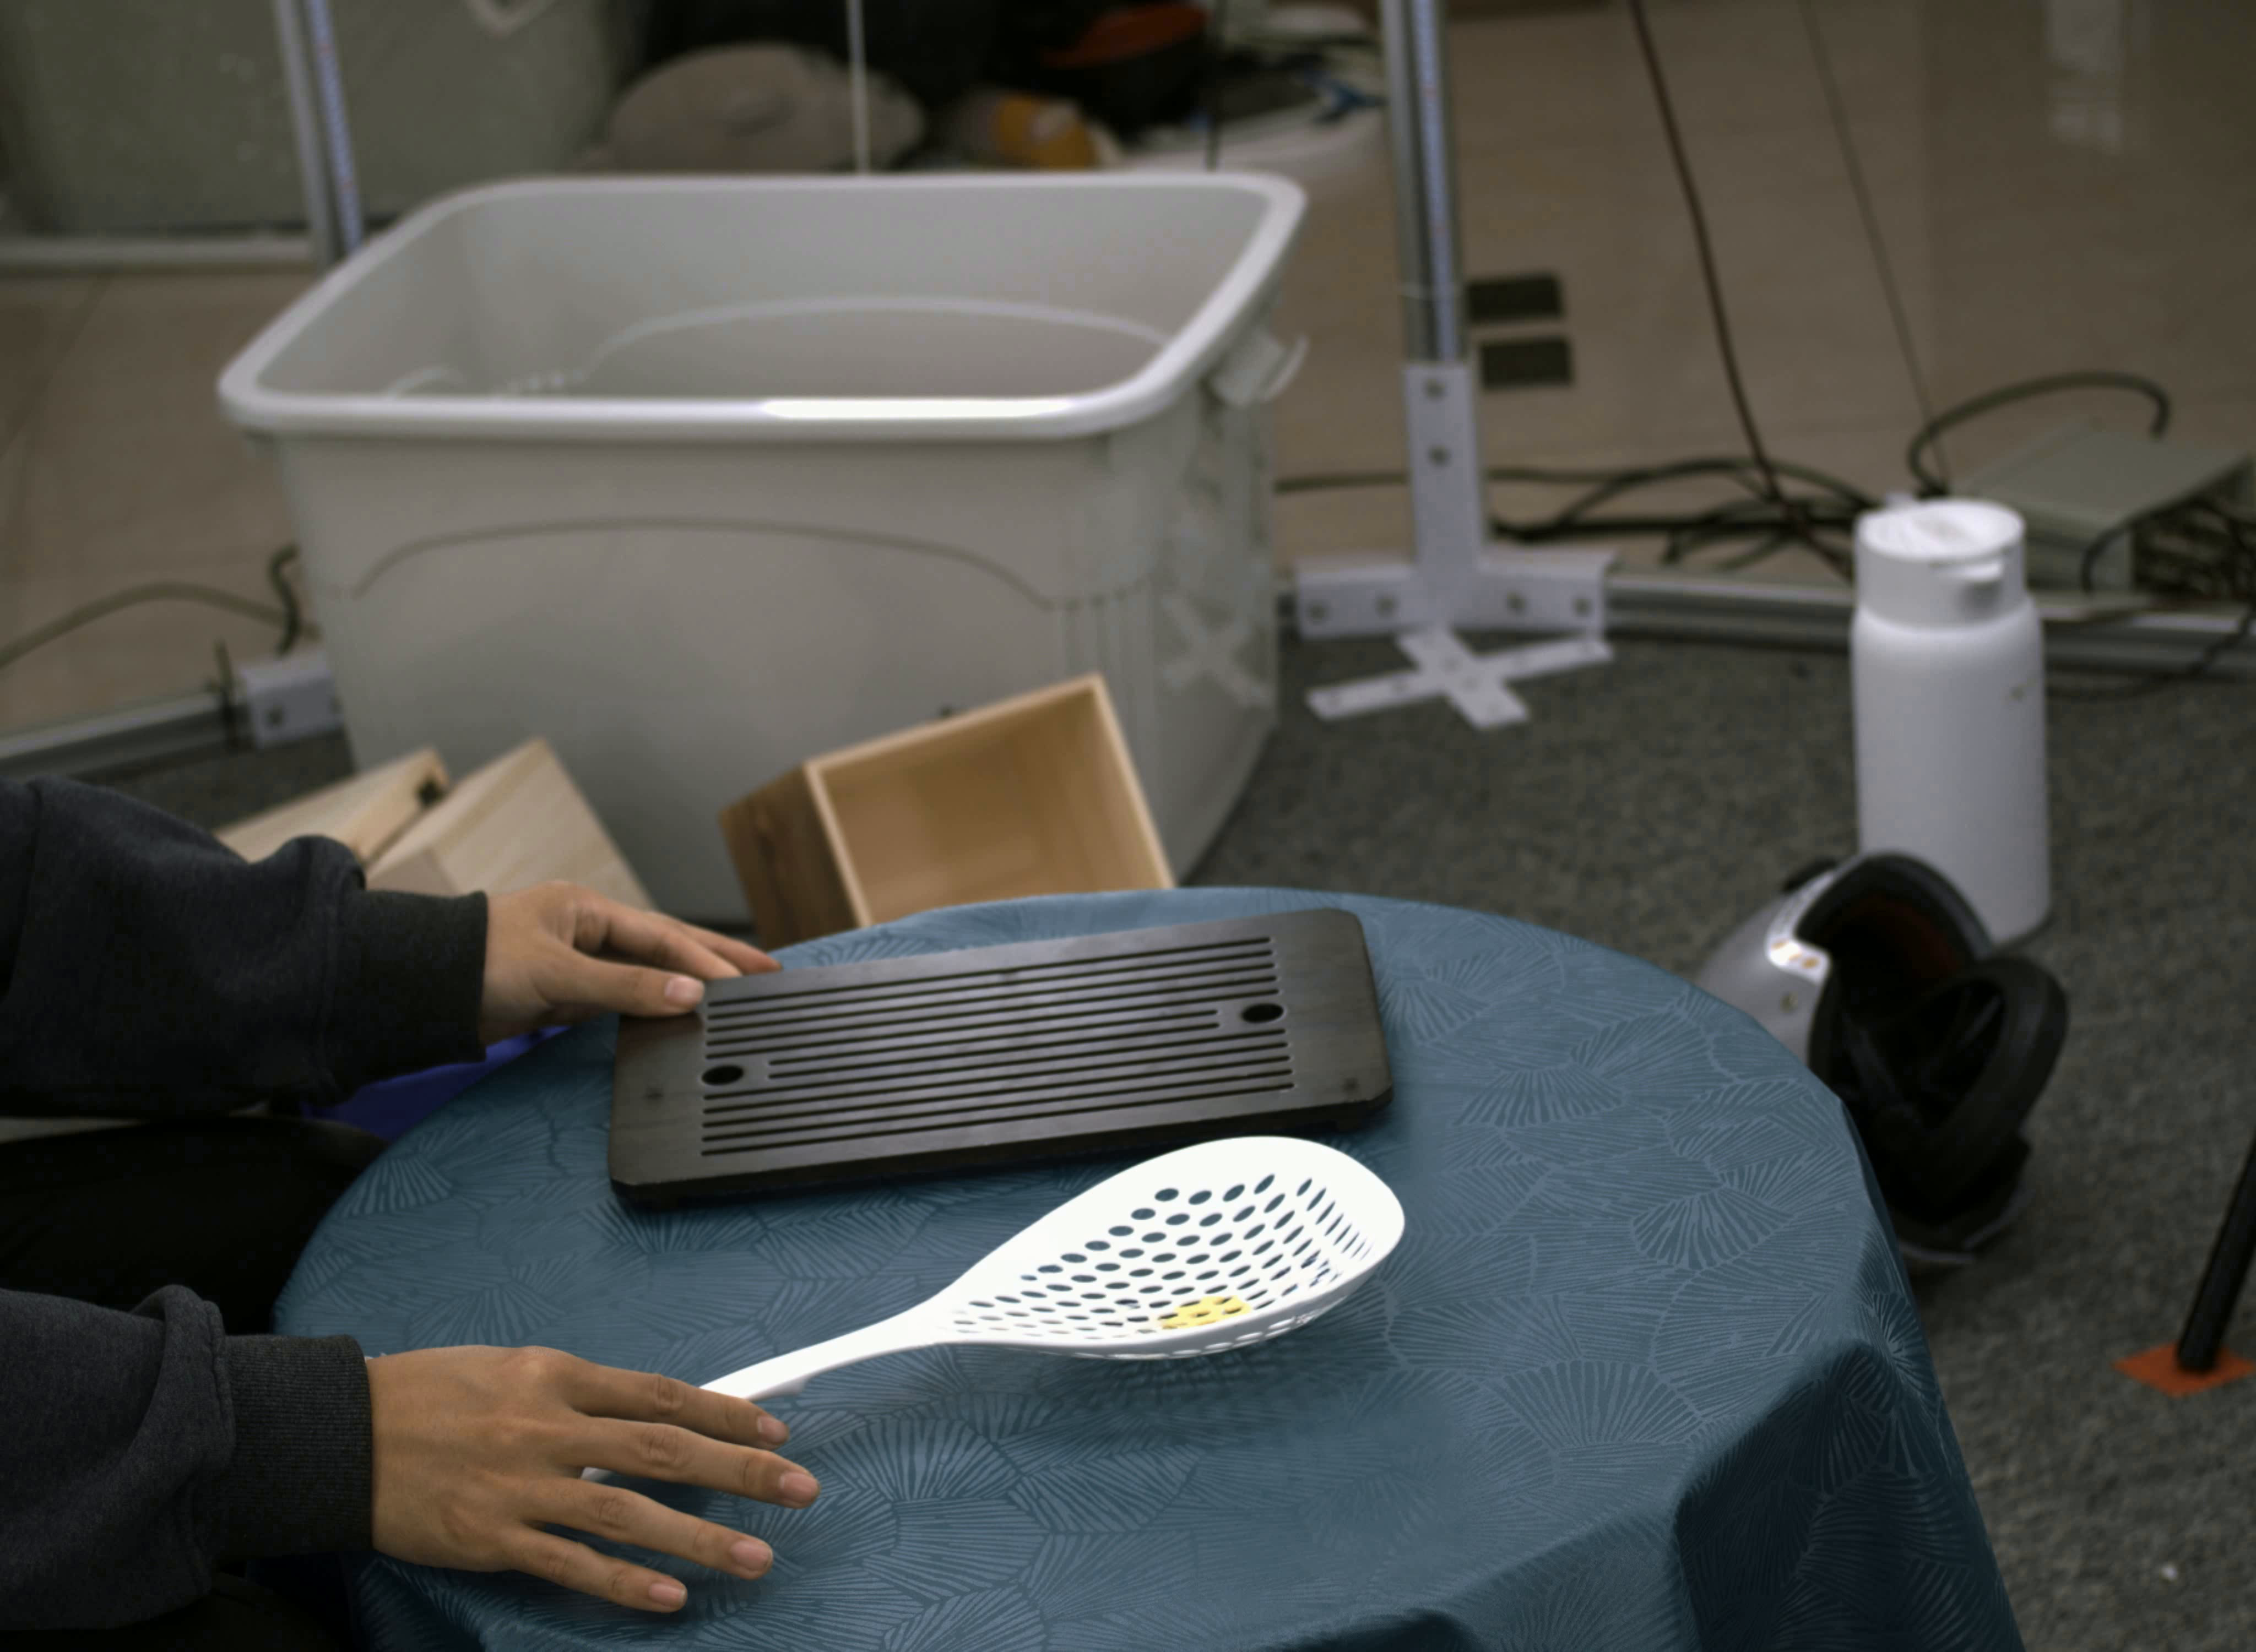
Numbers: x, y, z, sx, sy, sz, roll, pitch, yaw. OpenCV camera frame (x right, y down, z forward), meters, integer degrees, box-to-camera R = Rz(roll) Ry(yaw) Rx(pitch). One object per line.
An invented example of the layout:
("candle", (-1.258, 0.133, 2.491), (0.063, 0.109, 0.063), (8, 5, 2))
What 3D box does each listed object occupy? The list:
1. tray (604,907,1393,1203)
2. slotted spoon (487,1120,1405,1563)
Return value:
("tray", (-0.052, 0.091, 2.241), (0.305, 0.019, 0.167), (-7, 25, 0))
("slotted spoon", (-0.066, 0.187, 2.012), (0.346, 0.051, 0.135), (-15, 26, -17))
